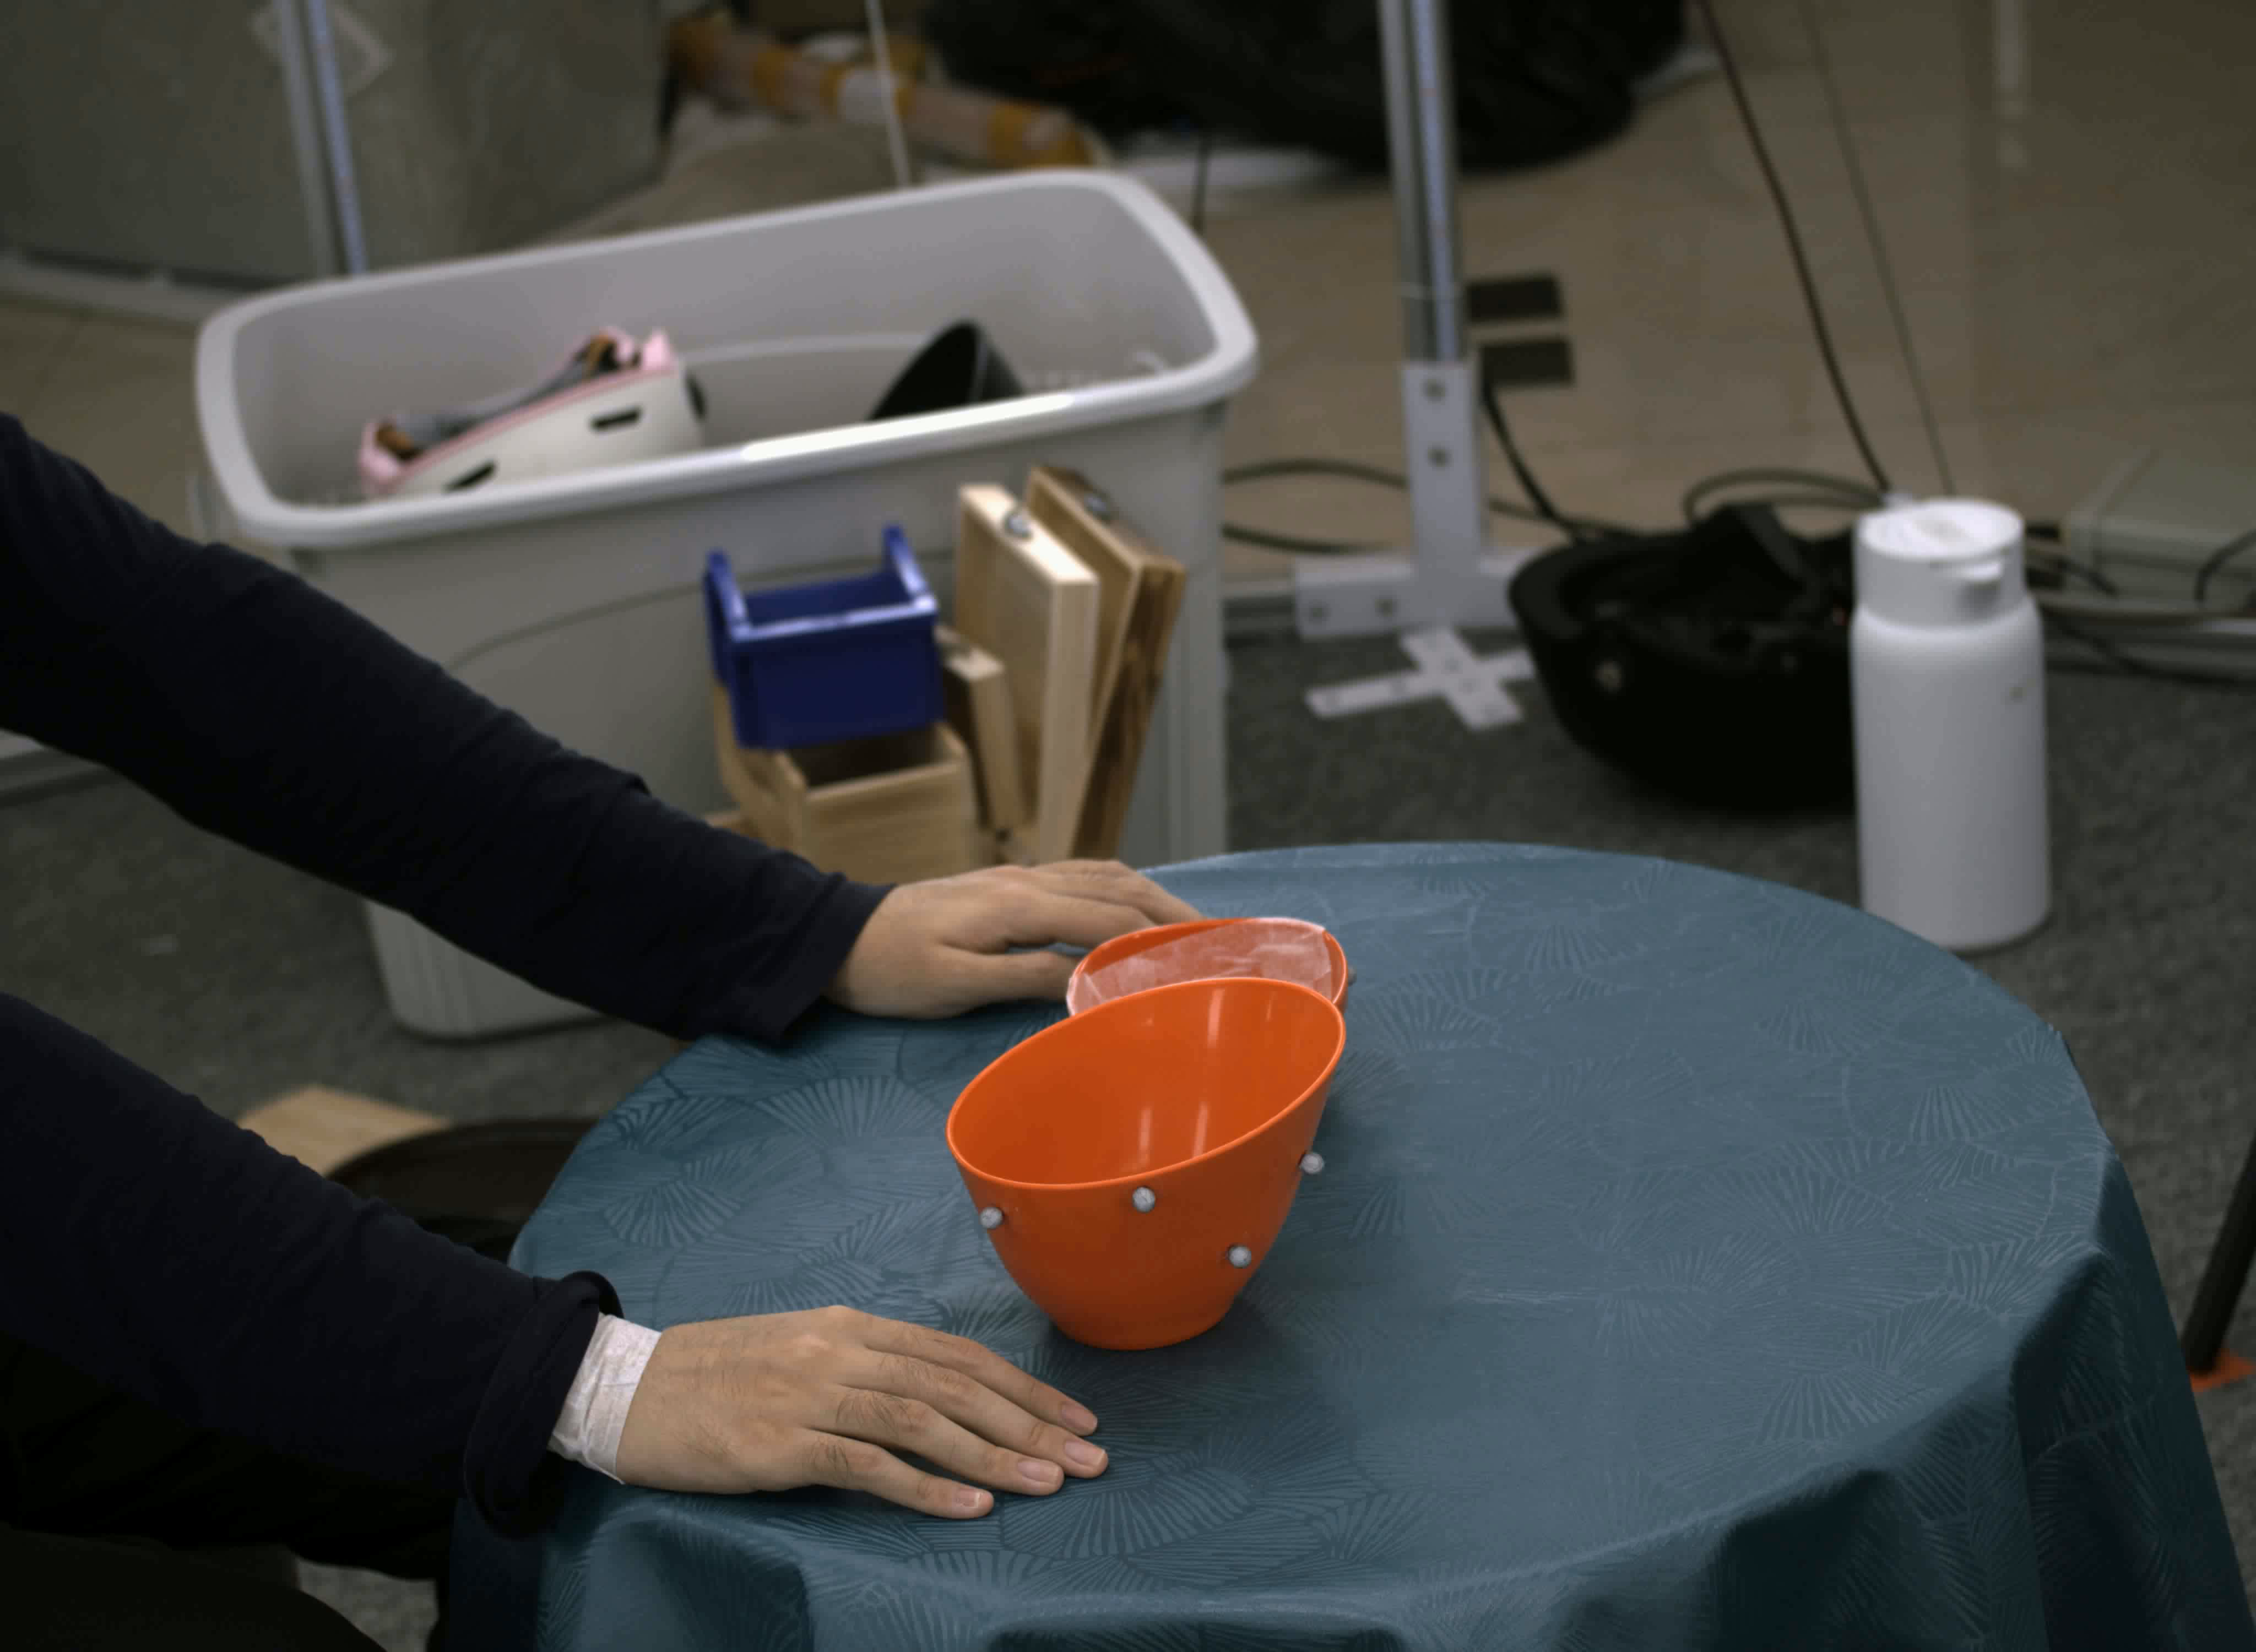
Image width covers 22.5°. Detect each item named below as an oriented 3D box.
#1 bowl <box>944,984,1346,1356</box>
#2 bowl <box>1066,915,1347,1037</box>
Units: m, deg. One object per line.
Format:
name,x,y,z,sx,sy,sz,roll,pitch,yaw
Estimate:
bowl,0.010,0.130,2.048,0.148,0.106,0.146,-5,26,3
bowl,0.033,0.082,2.206,0.119,0.052,0.117,-6,26,3
